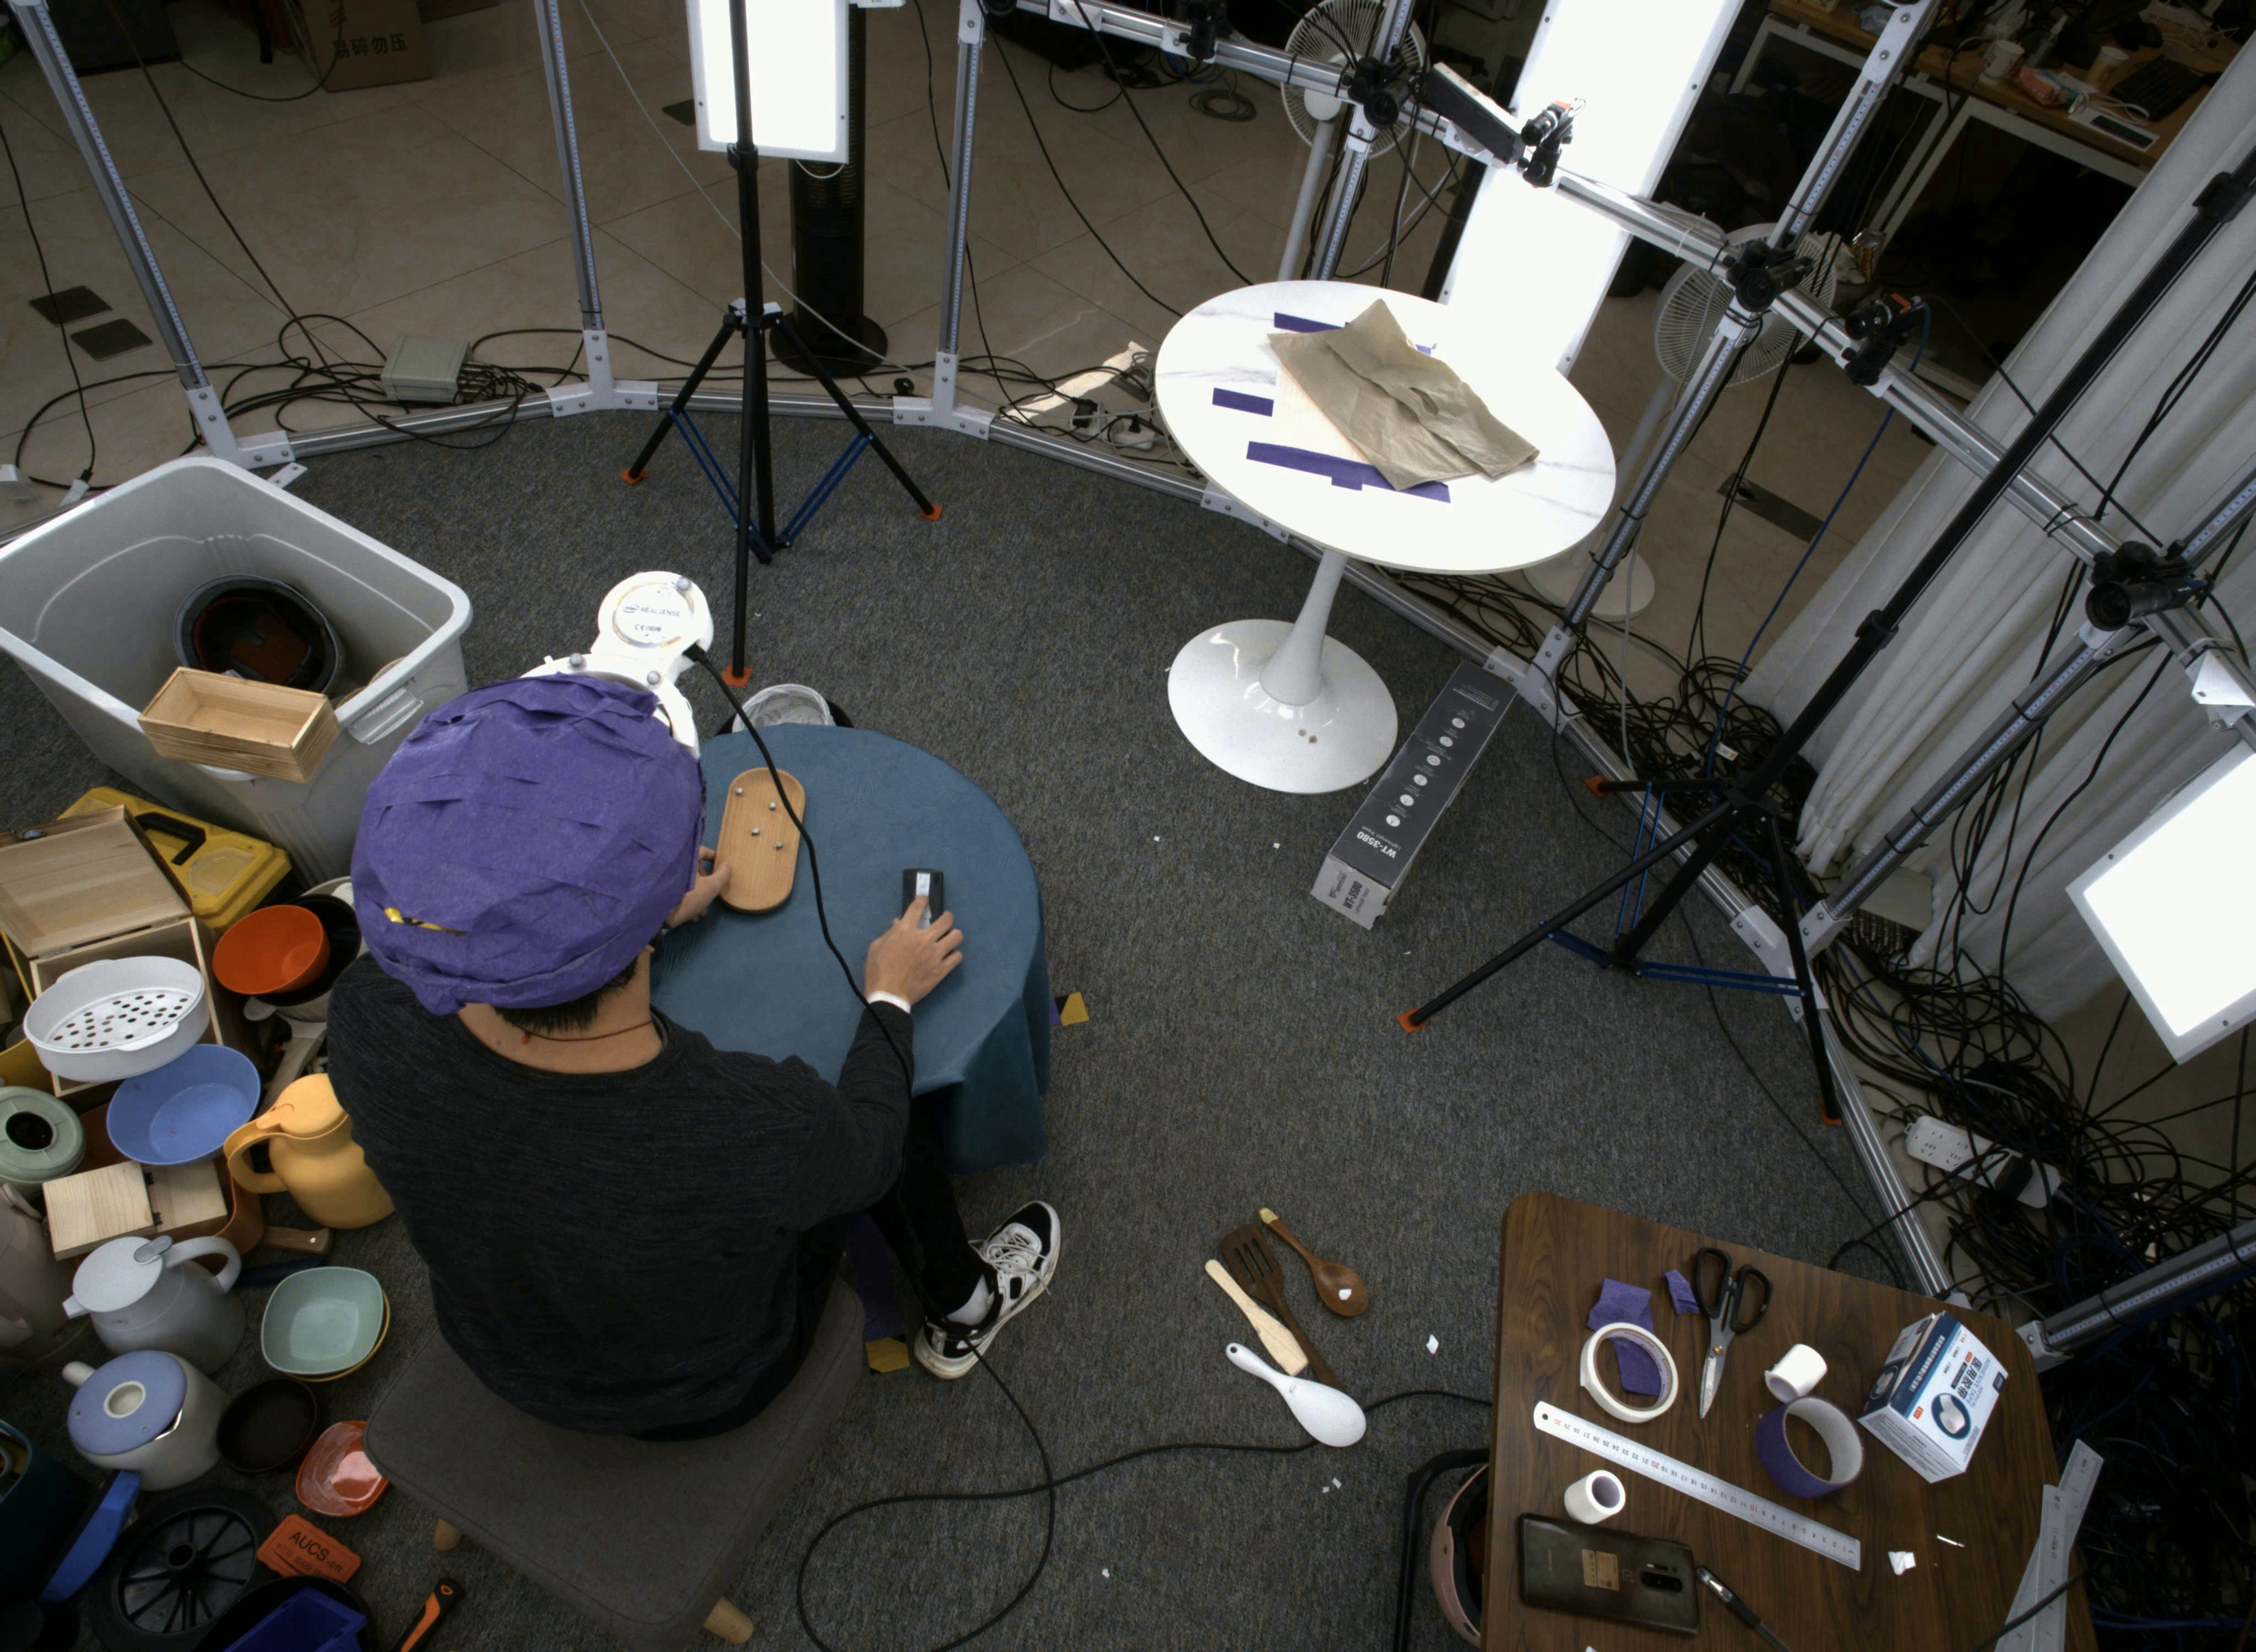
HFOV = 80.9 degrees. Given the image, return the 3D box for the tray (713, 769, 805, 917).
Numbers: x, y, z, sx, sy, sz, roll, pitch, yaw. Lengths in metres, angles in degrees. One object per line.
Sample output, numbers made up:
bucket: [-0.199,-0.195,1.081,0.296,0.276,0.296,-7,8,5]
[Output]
tray: [-0.477,0.019,1.675,0.102,0.020,0.227,8,54,-15]

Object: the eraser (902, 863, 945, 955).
eraser: [-0.260,0.104,1.655,0.053,0.031,0.123,-1,52,-8]
